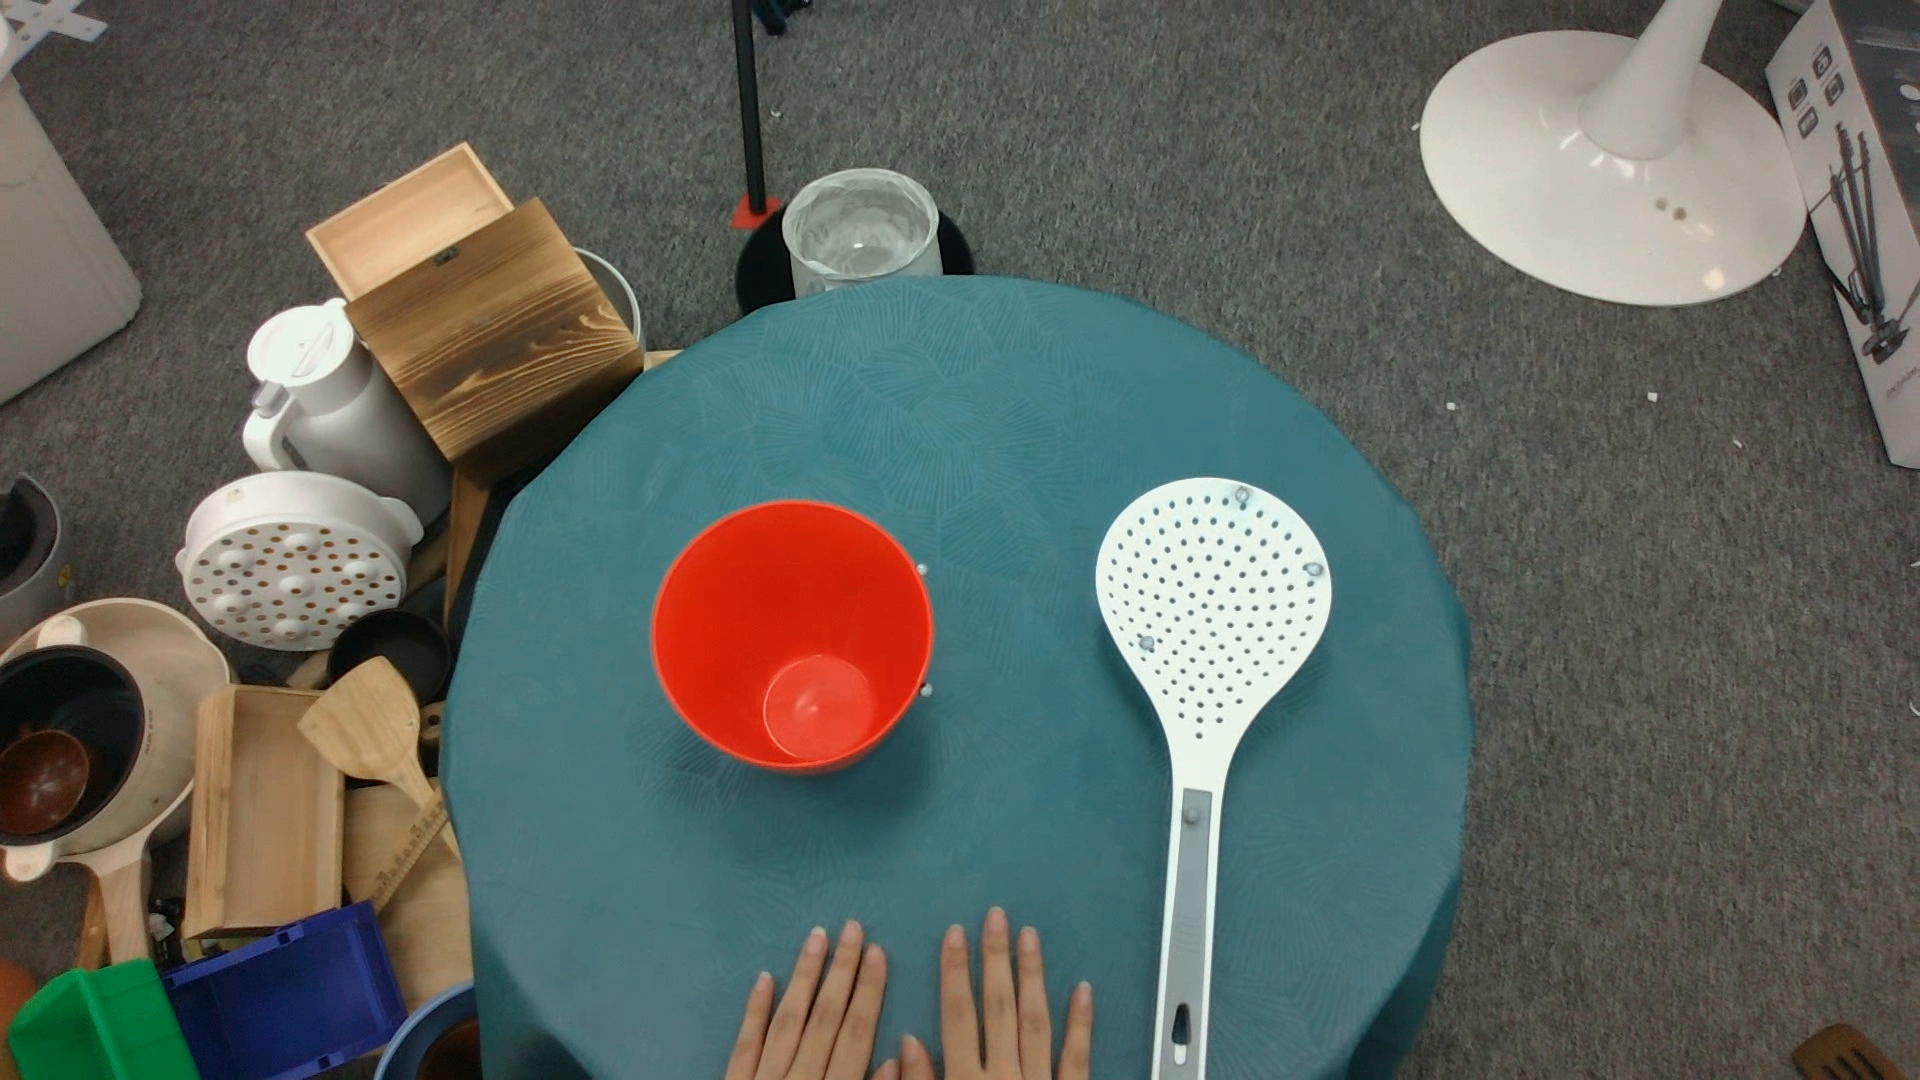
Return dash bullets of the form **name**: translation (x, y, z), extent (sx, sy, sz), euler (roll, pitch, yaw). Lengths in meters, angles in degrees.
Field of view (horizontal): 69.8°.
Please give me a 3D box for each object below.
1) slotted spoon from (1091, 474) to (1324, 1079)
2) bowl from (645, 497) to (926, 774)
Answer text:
- **slotted spoon**: translation (0.129, 0.122, 0.763), extent (0.136, 0.045, 0.351), euler (7, 60, 5)
- **bowl**: translation (-0.093, 0.065, 0.762), extent (0.148, 0.104, 0.148), euler (1, 60, -2)
